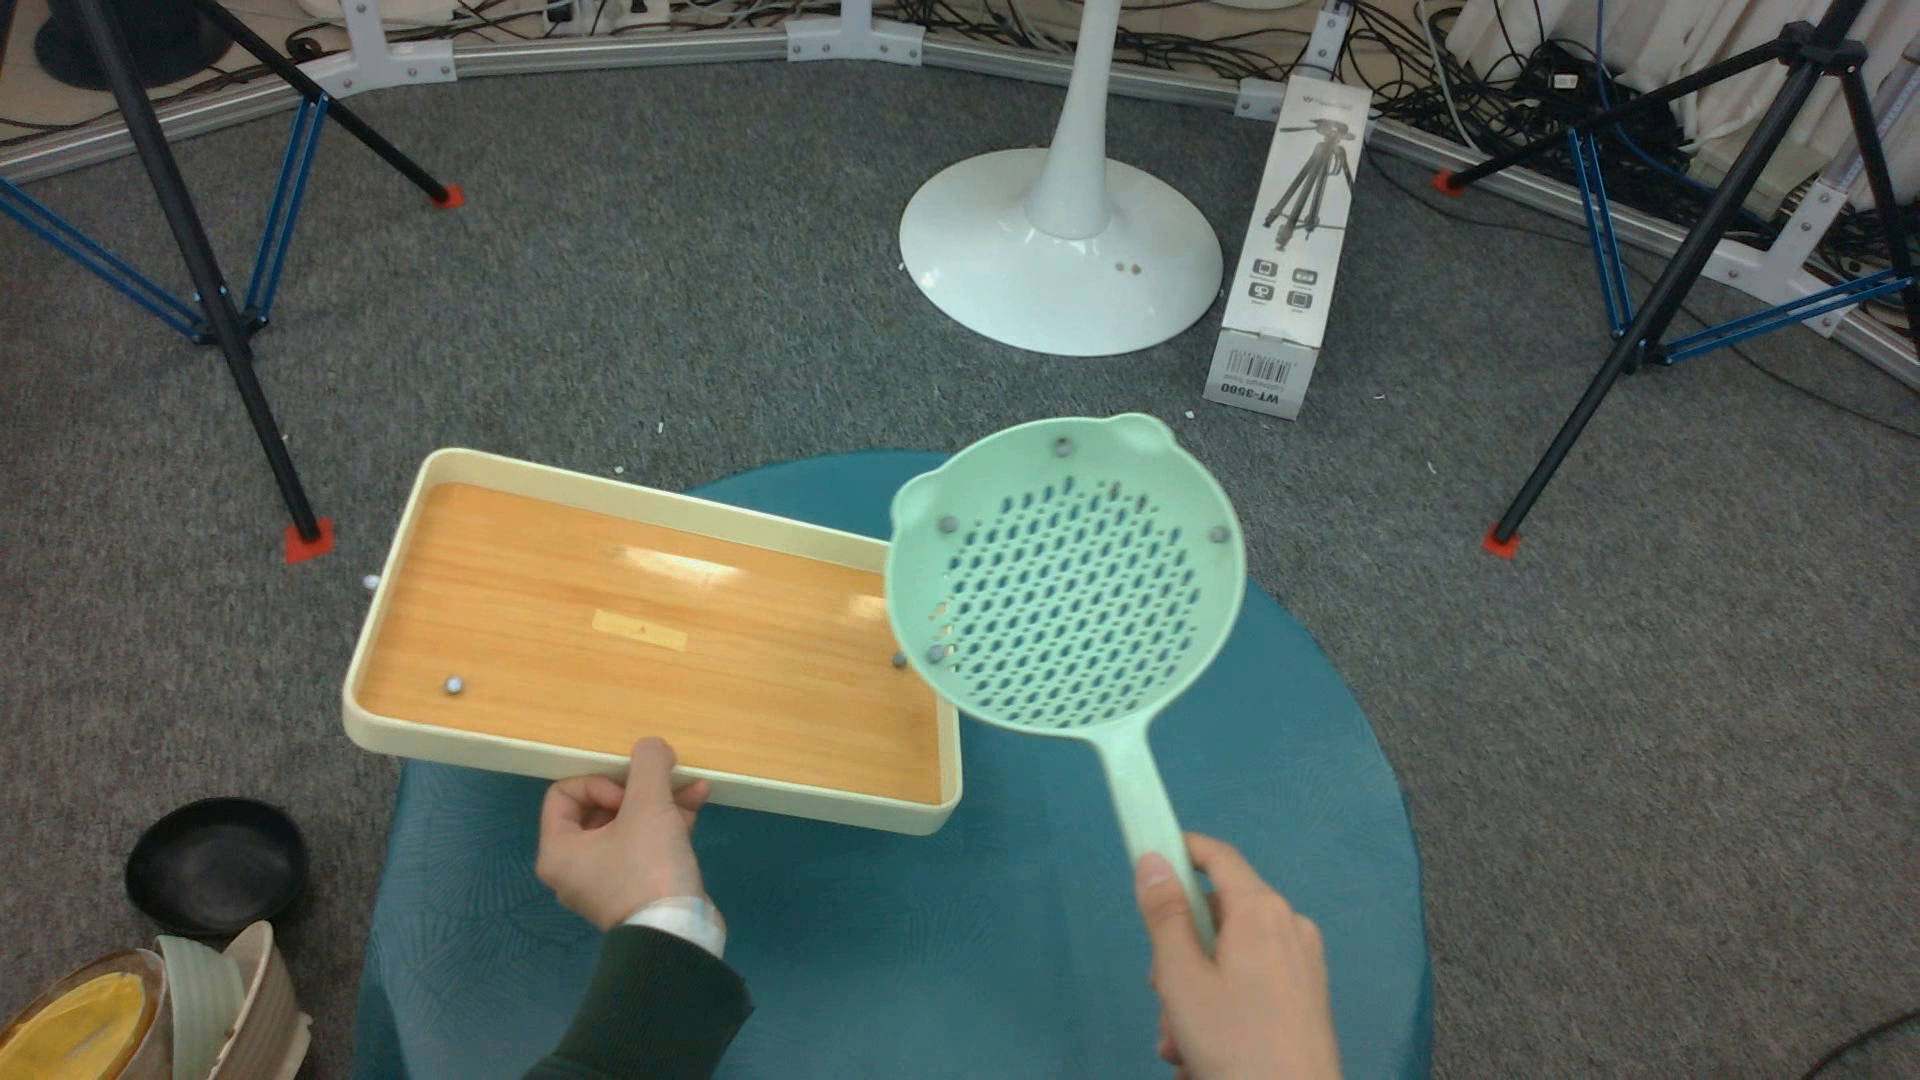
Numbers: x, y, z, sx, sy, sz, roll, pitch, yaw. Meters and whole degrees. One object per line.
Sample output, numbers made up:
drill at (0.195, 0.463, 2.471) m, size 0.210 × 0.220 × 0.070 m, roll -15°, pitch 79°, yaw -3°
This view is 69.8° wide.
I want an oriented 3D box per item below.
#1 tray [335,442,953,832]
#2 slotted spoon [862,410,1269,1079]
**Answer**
tray at (-0.151, 0.049, 0.731) m, size 0.300 × 0.027 × 0.192 m, roll 13°, pitch 41°, yaw -16°
slotted spoon at (0.065, 0.094, 0.607) m, size 0.169 × 0.075 × 0.360 m, roll -17°, pitch 50°, yaw -2°
